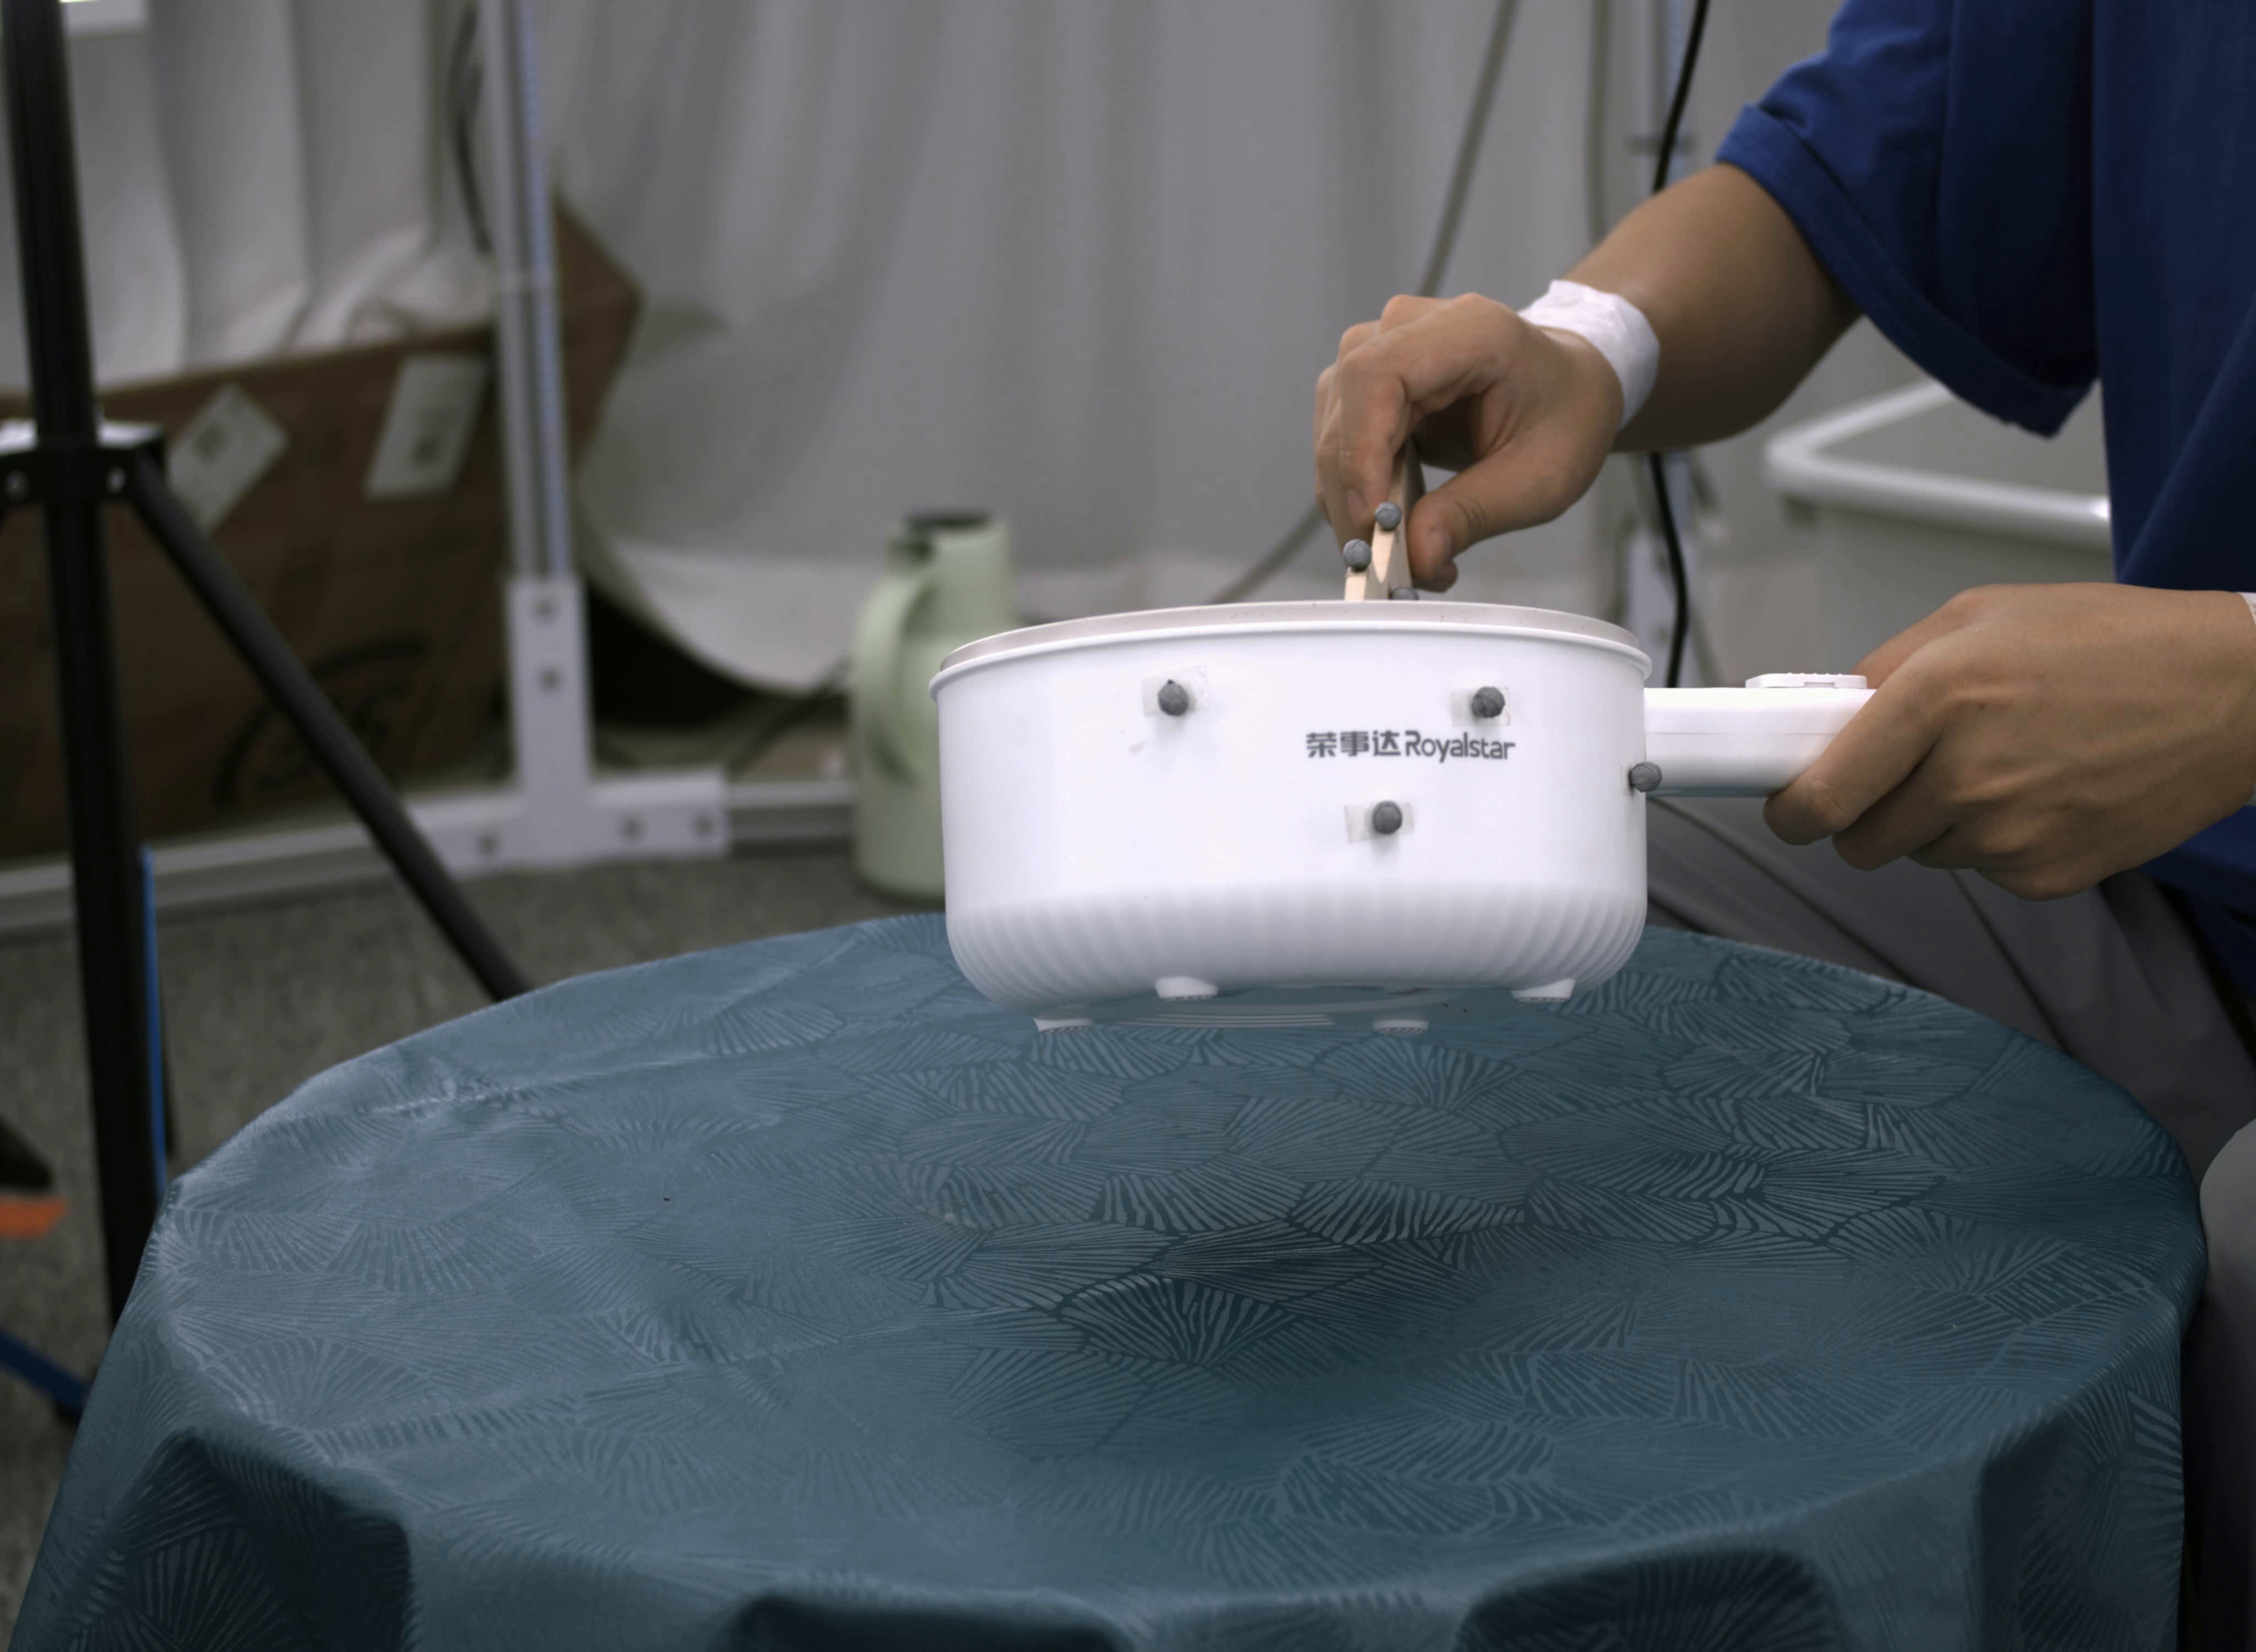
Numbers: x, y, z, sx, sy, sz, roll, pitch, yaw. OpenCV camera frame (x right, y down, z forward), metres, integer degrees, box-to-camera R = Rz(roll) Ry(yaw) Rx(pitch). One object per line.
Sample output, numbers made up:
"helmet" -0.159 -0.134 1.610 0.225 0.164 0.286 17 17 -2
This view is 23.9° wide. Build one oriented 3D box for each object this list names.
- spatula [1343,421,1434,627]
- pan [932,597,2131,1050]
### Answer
"spatula" 0.080 -0.072 1.600 0.011 0.072 0.293 -8 19 9
"pan" 0.119 0.007 1.490 0.348 0.103 0.203 1 -10 -18
